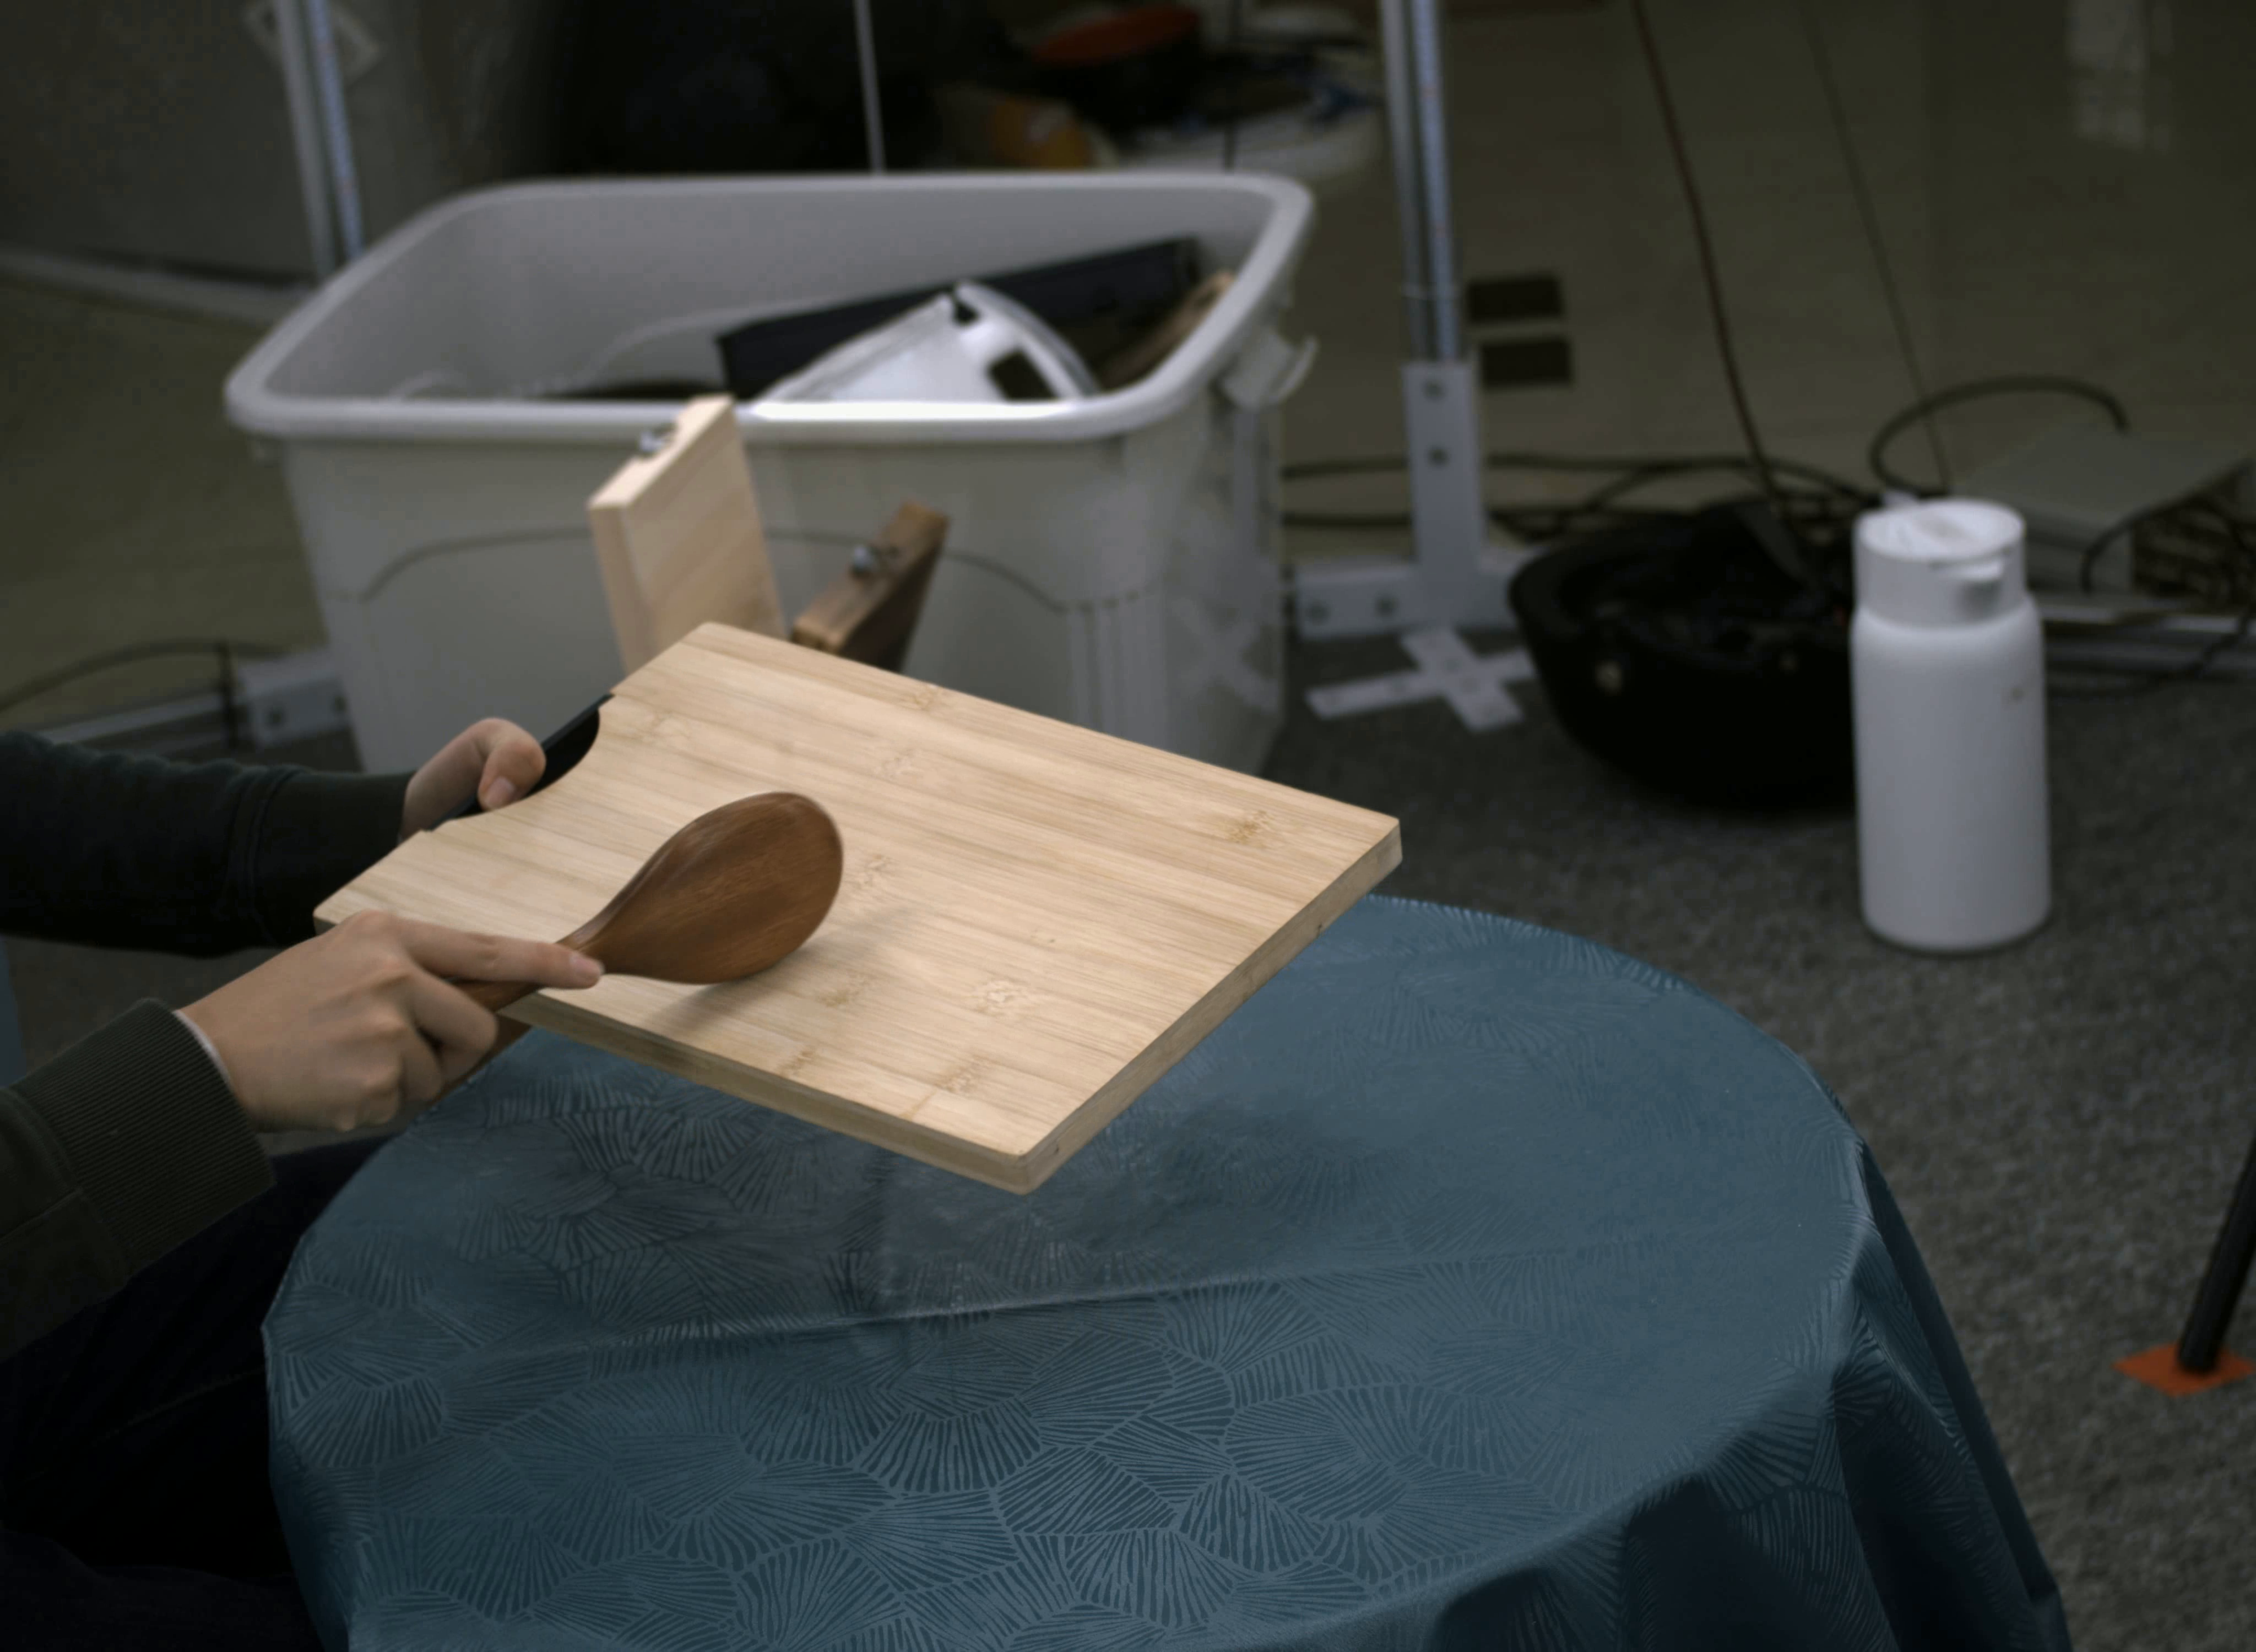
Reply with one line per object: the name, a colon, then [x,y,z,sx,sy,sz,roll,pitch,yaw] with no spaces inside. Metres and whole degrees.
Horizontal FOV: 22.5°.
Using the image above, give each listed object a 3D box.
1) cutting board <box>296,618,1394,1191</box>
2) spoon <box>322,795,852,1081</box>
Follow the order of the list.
cutting board: [-0.108,0.022,2.131,0.346,0.024,0.248,16,39,32]
spoon: [-0.189,0.045,2.022,0.214,0.077,0.017,-21,42,-25]
